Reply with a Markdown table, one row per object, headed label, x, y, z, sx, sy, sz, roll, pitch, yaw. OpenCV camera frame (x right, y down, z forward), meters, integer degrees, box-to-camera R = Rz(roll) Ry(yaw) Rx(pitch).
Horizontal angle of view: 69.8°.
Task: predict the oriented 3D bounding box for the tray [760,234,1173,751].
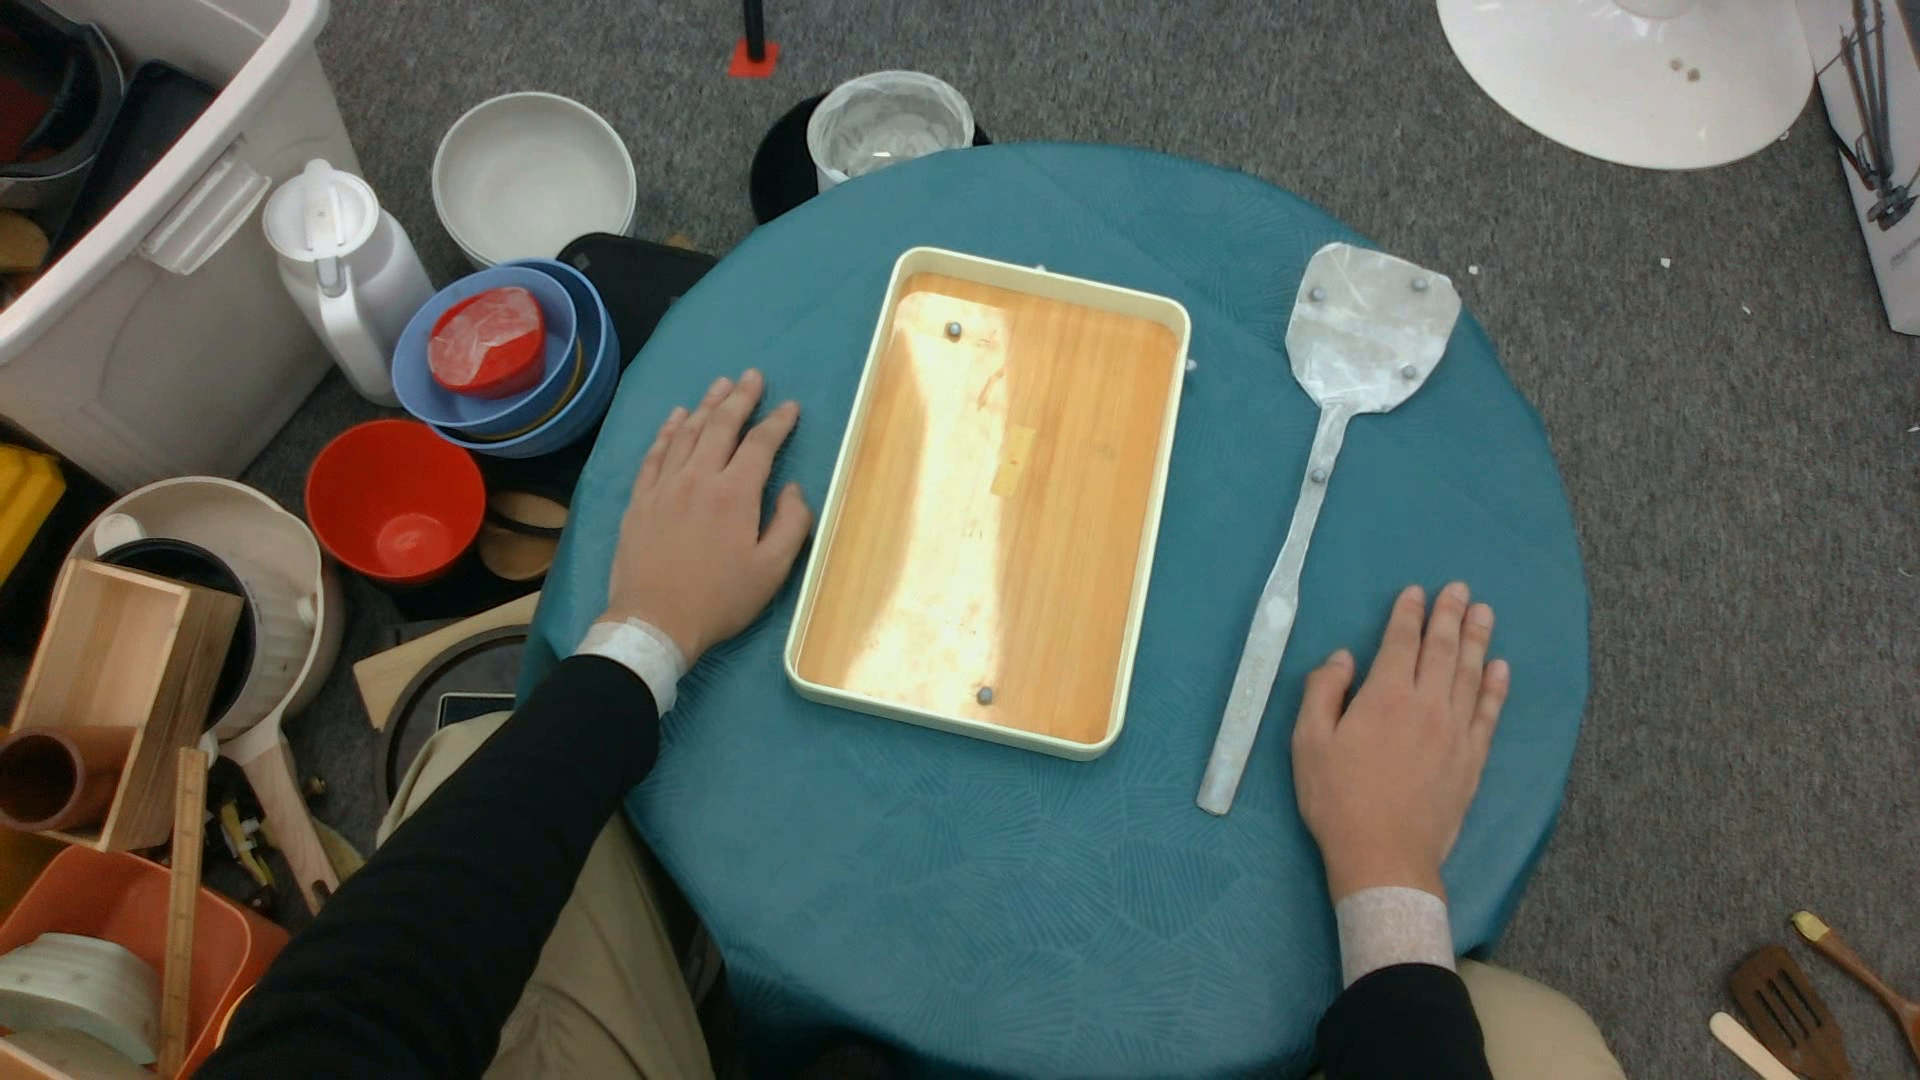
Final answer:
| label | x | y | z | sx | sy | sz | roll | pitch | yaw |
| --- | --- | --- | --- | --- | --- | --- | --- | --- | --- |
| tray | 0.011 | -0.037 | 0.811 | 0.191 | 0.027 | 0.301 | 13 | 65 | 1 |

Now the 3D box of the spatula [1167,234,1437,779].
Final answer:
| label | x | y | z | sx | sy | sz | roll | pitch | yaw |
| --- | --- | --- | --- | --- | --- | --- | --- | --- | --- |
| spatula | 0.193 | -0.025 | 0.815 | 0.098 | 0.044 | 0.366 | 22 | 66 | 5 |
